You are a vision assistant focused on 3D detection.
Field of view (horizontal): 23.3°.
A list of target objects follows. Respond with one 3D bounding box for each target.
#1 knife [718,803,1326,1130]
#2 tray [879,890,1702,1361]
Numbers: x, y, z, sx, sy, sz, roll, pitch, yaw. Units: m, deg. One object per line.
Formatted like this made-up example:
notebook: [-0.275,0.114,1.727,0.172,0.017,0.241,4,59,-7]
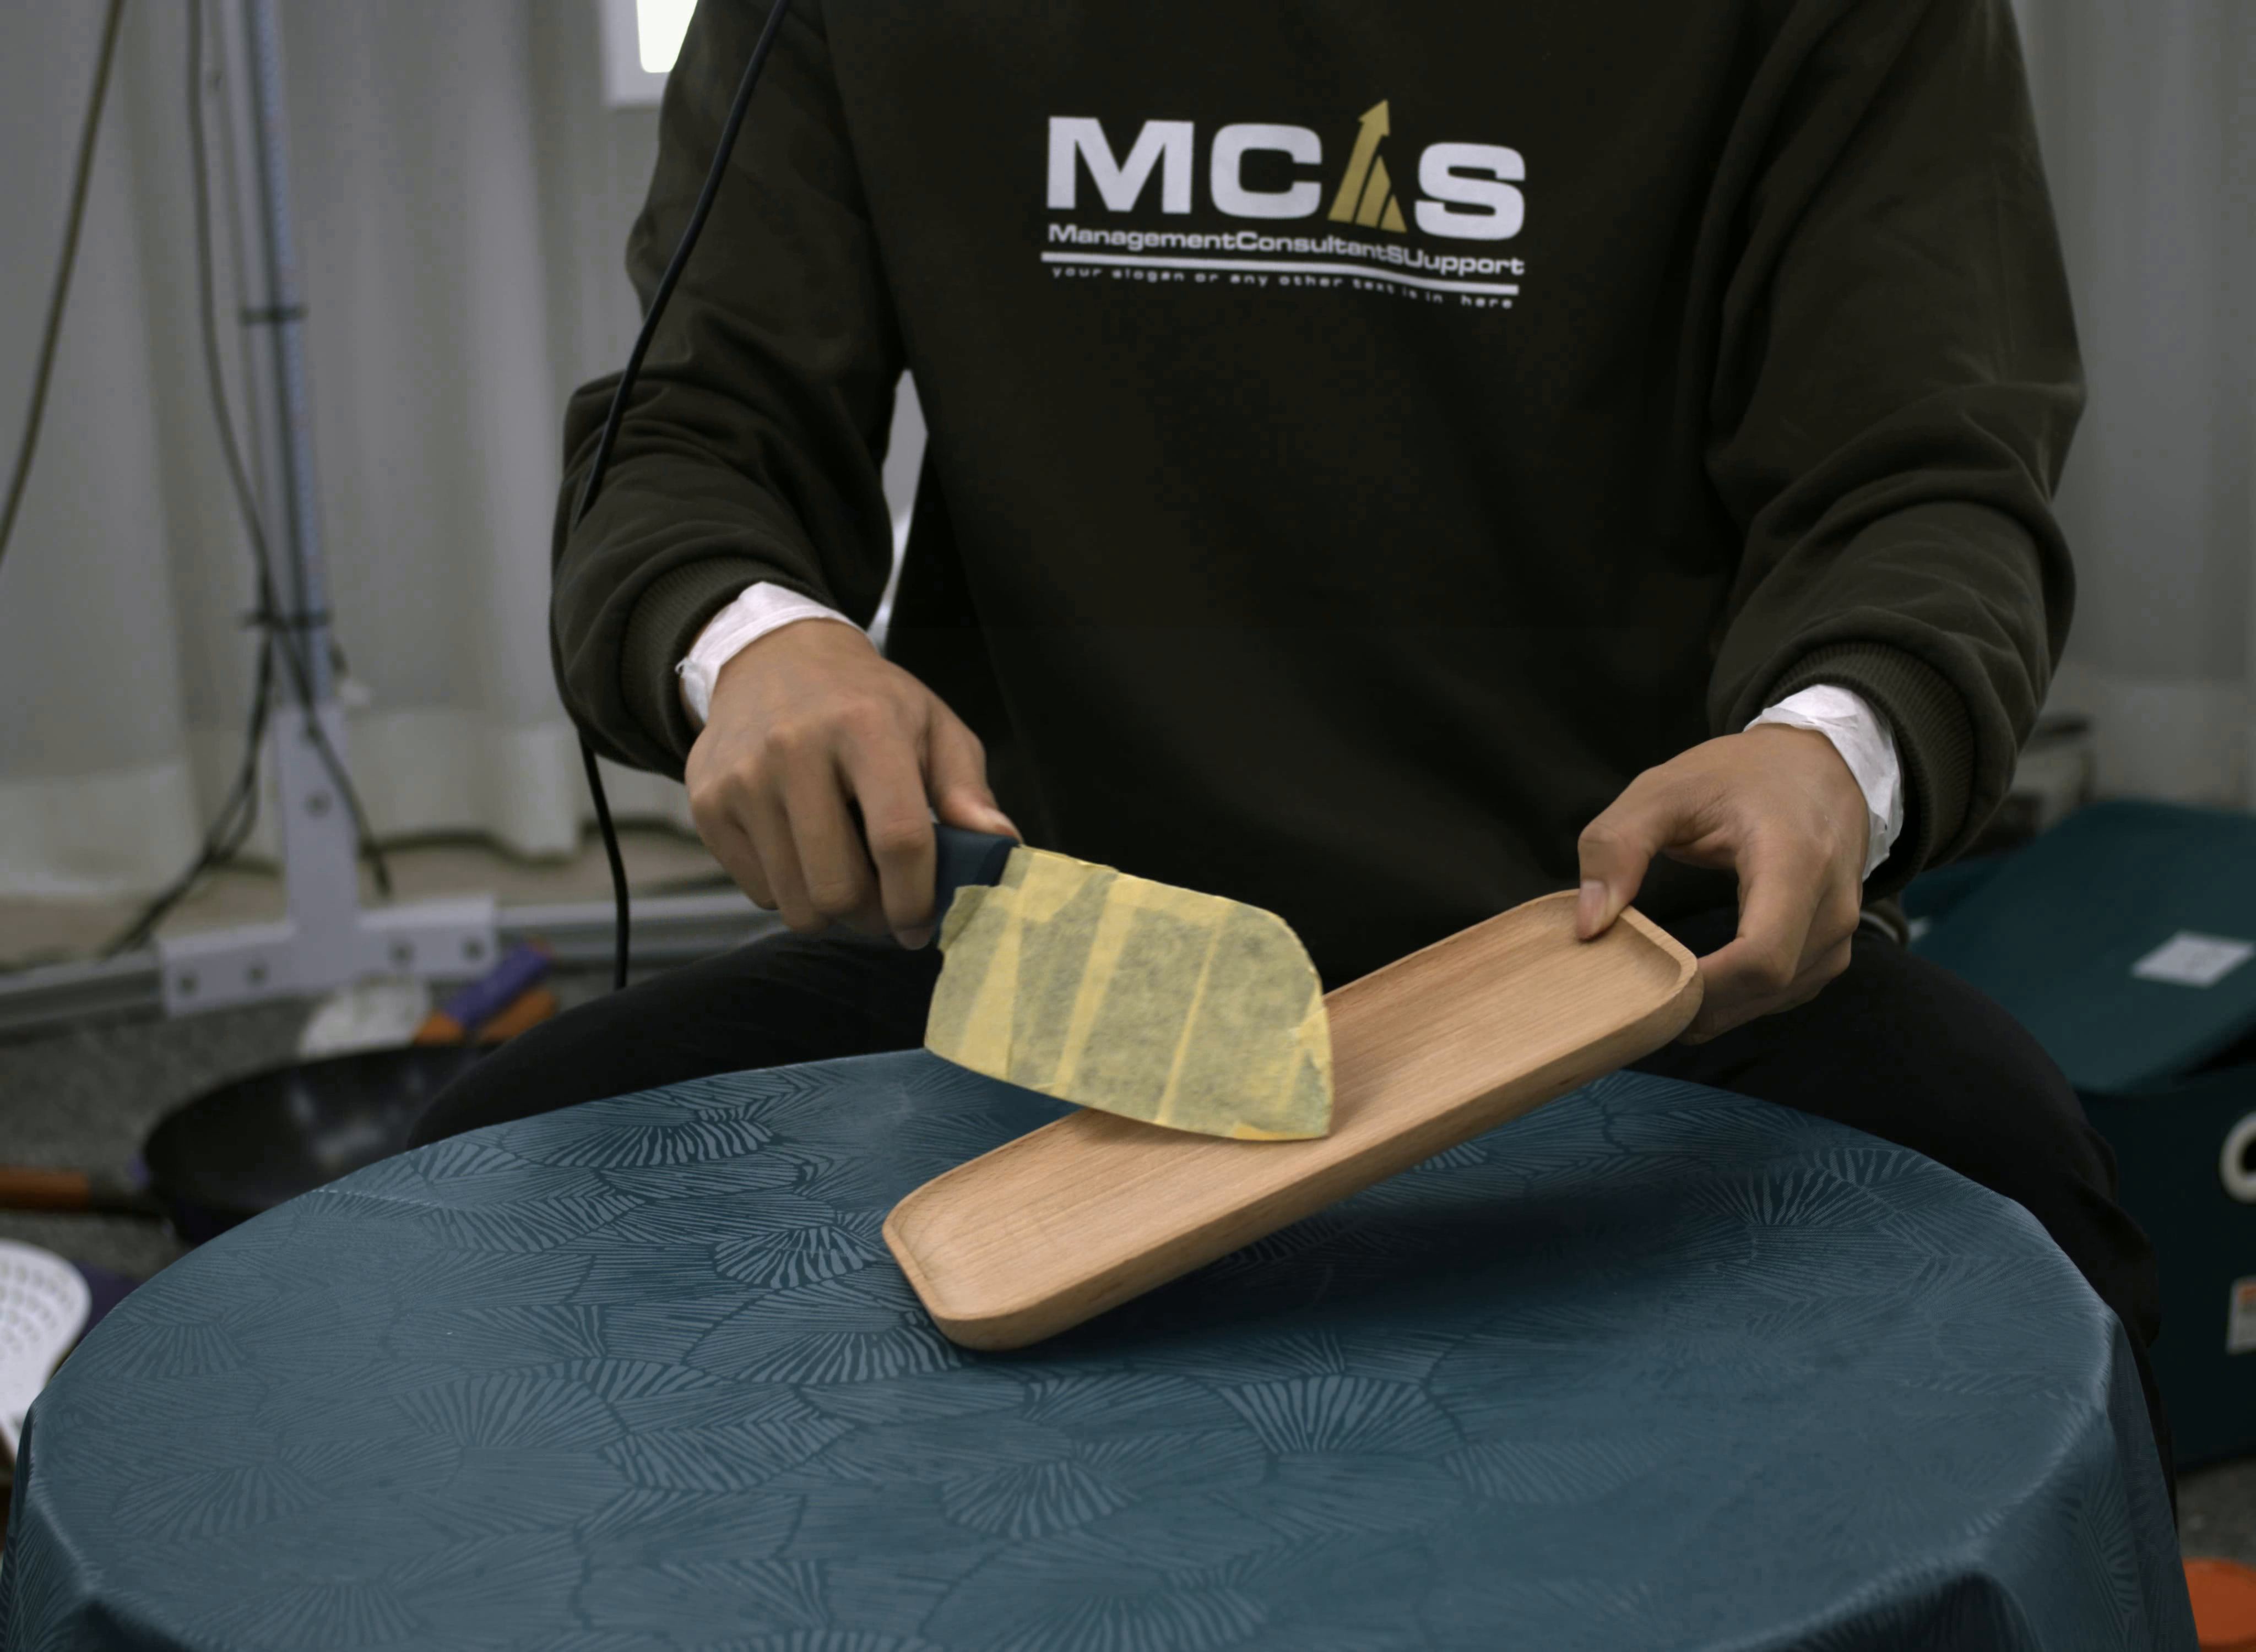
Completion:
knife: [-0.038,0.041,1.714,0.291,0.081,0.027,18,-6,46]
tray: [0.048,0.088,1.633,0.250,0.023,0.131,-26,16,-7]
